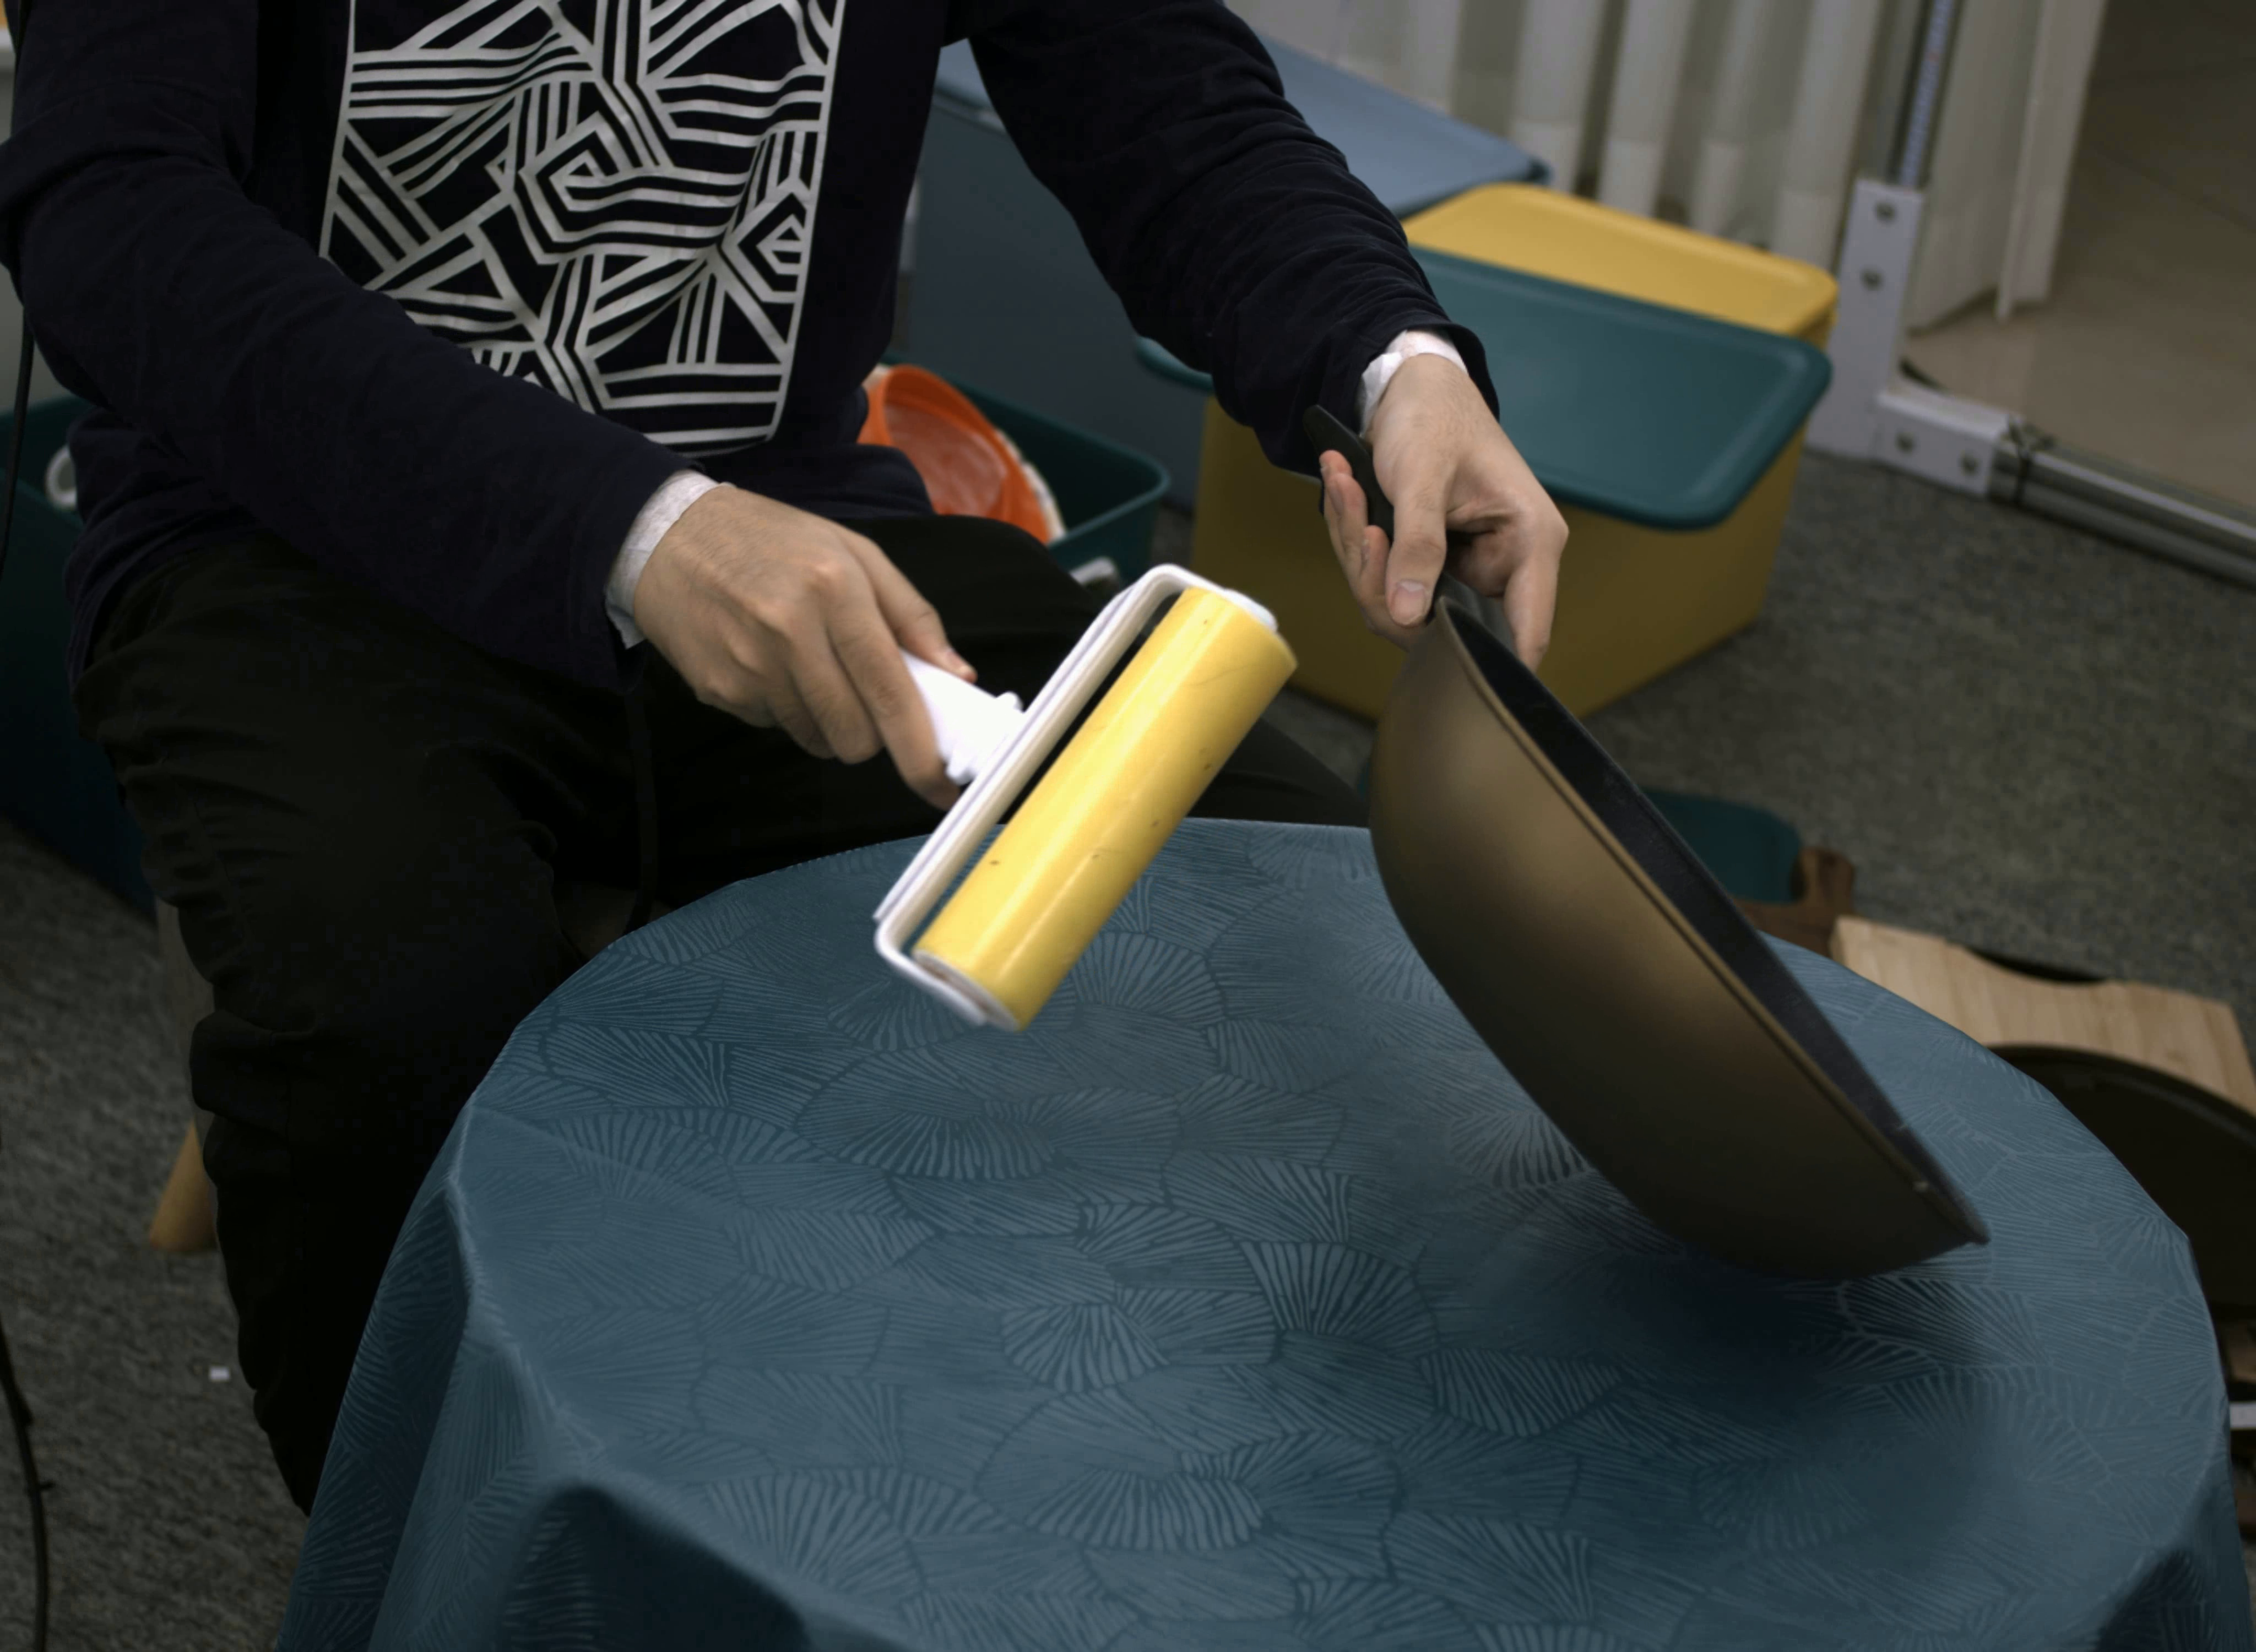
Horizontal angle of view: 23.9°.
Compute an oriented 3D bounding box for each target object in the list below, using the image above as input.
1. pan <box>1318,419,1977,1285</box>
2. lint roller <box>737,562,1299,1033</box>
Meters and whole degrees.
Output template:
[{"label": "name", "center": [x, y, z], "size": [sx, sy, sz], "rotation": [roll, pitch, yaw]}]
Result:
[{"label": "pan", "center": [0.130, 0.000, 1.832], "size": [0.087, 0.285, 0.468], "rotation": [-39, 41, 6]}, {"label": "lint roller", "center": [-0.063, -0.040, 1.854], "size": [0.193, 0.051, 0.174], "rotation": [29, 76, 22]}]
